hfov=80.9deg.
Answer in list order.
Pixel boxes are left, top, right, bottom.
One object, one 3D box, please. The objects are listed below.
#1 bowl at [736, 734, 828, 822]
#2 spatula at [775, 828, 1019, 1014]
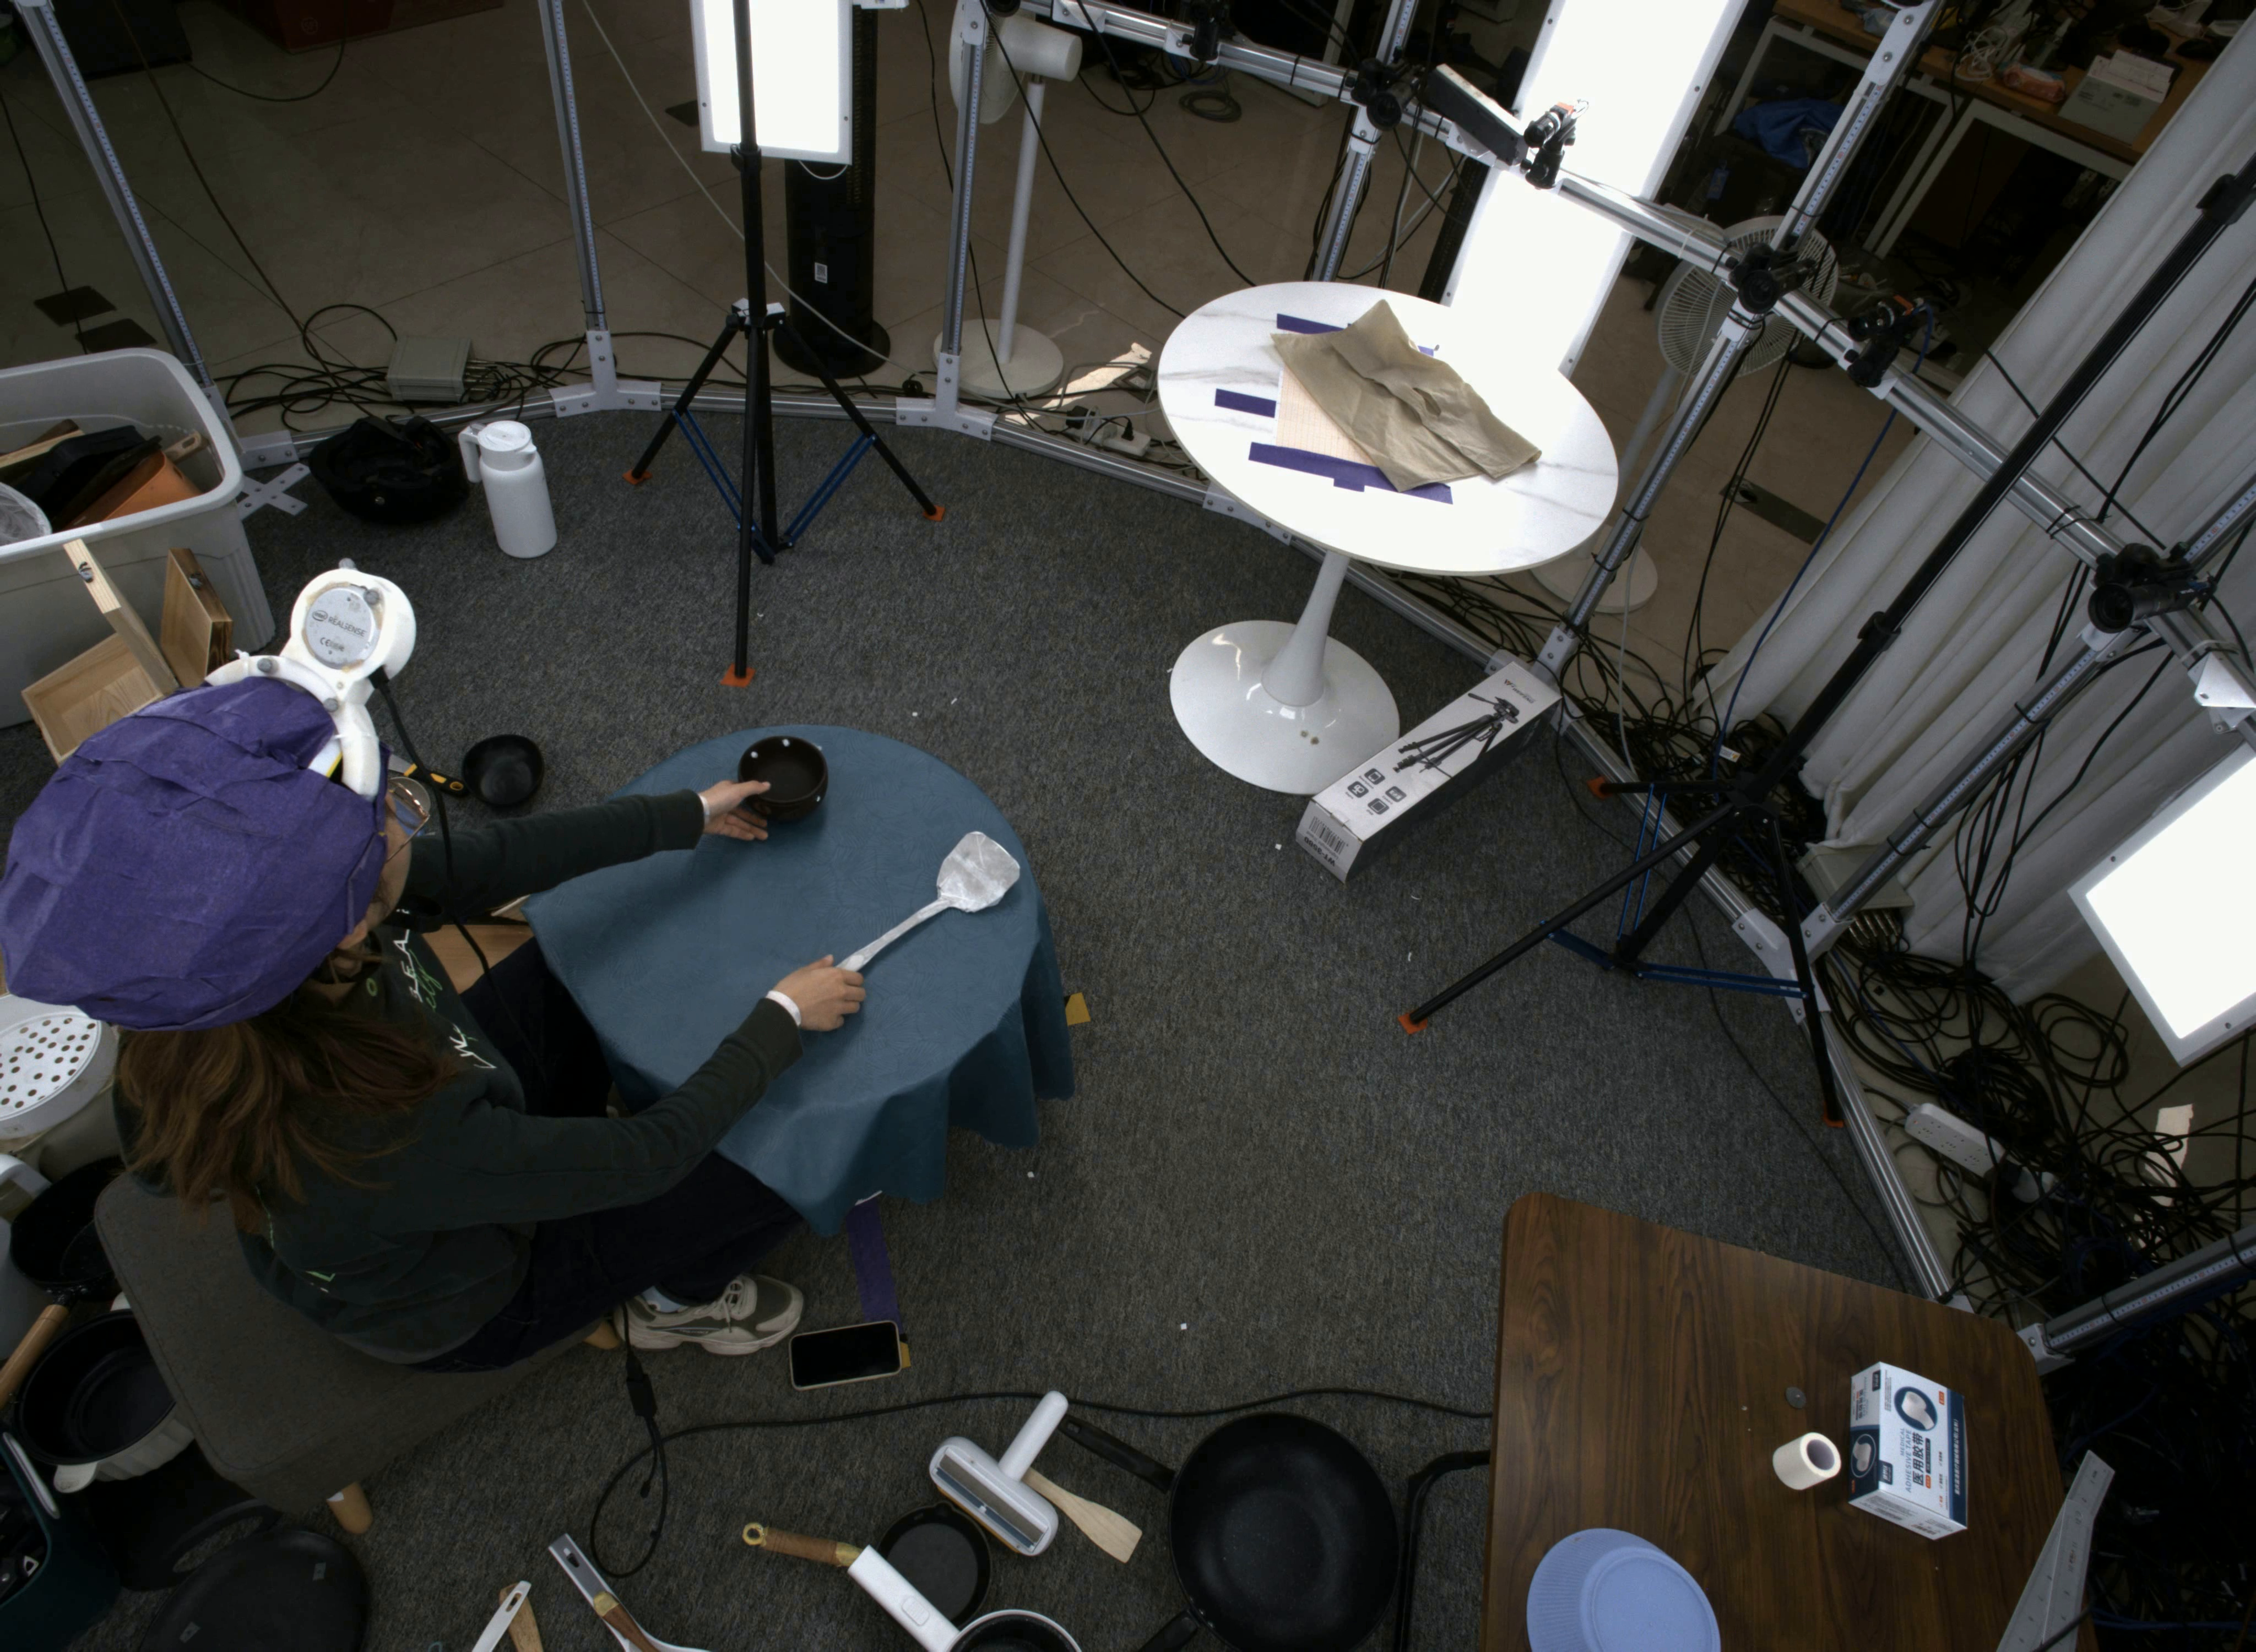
[{"bbox_3d":[-0.457,-0.056,1.717,0.117,0.071,0.116,6,53,-6],"label":"bowl"},{"bbox_3d":[-0.292,0.126,1.644,0.097,0.045,0.365,43,55,16],"label":"spatula"}]
